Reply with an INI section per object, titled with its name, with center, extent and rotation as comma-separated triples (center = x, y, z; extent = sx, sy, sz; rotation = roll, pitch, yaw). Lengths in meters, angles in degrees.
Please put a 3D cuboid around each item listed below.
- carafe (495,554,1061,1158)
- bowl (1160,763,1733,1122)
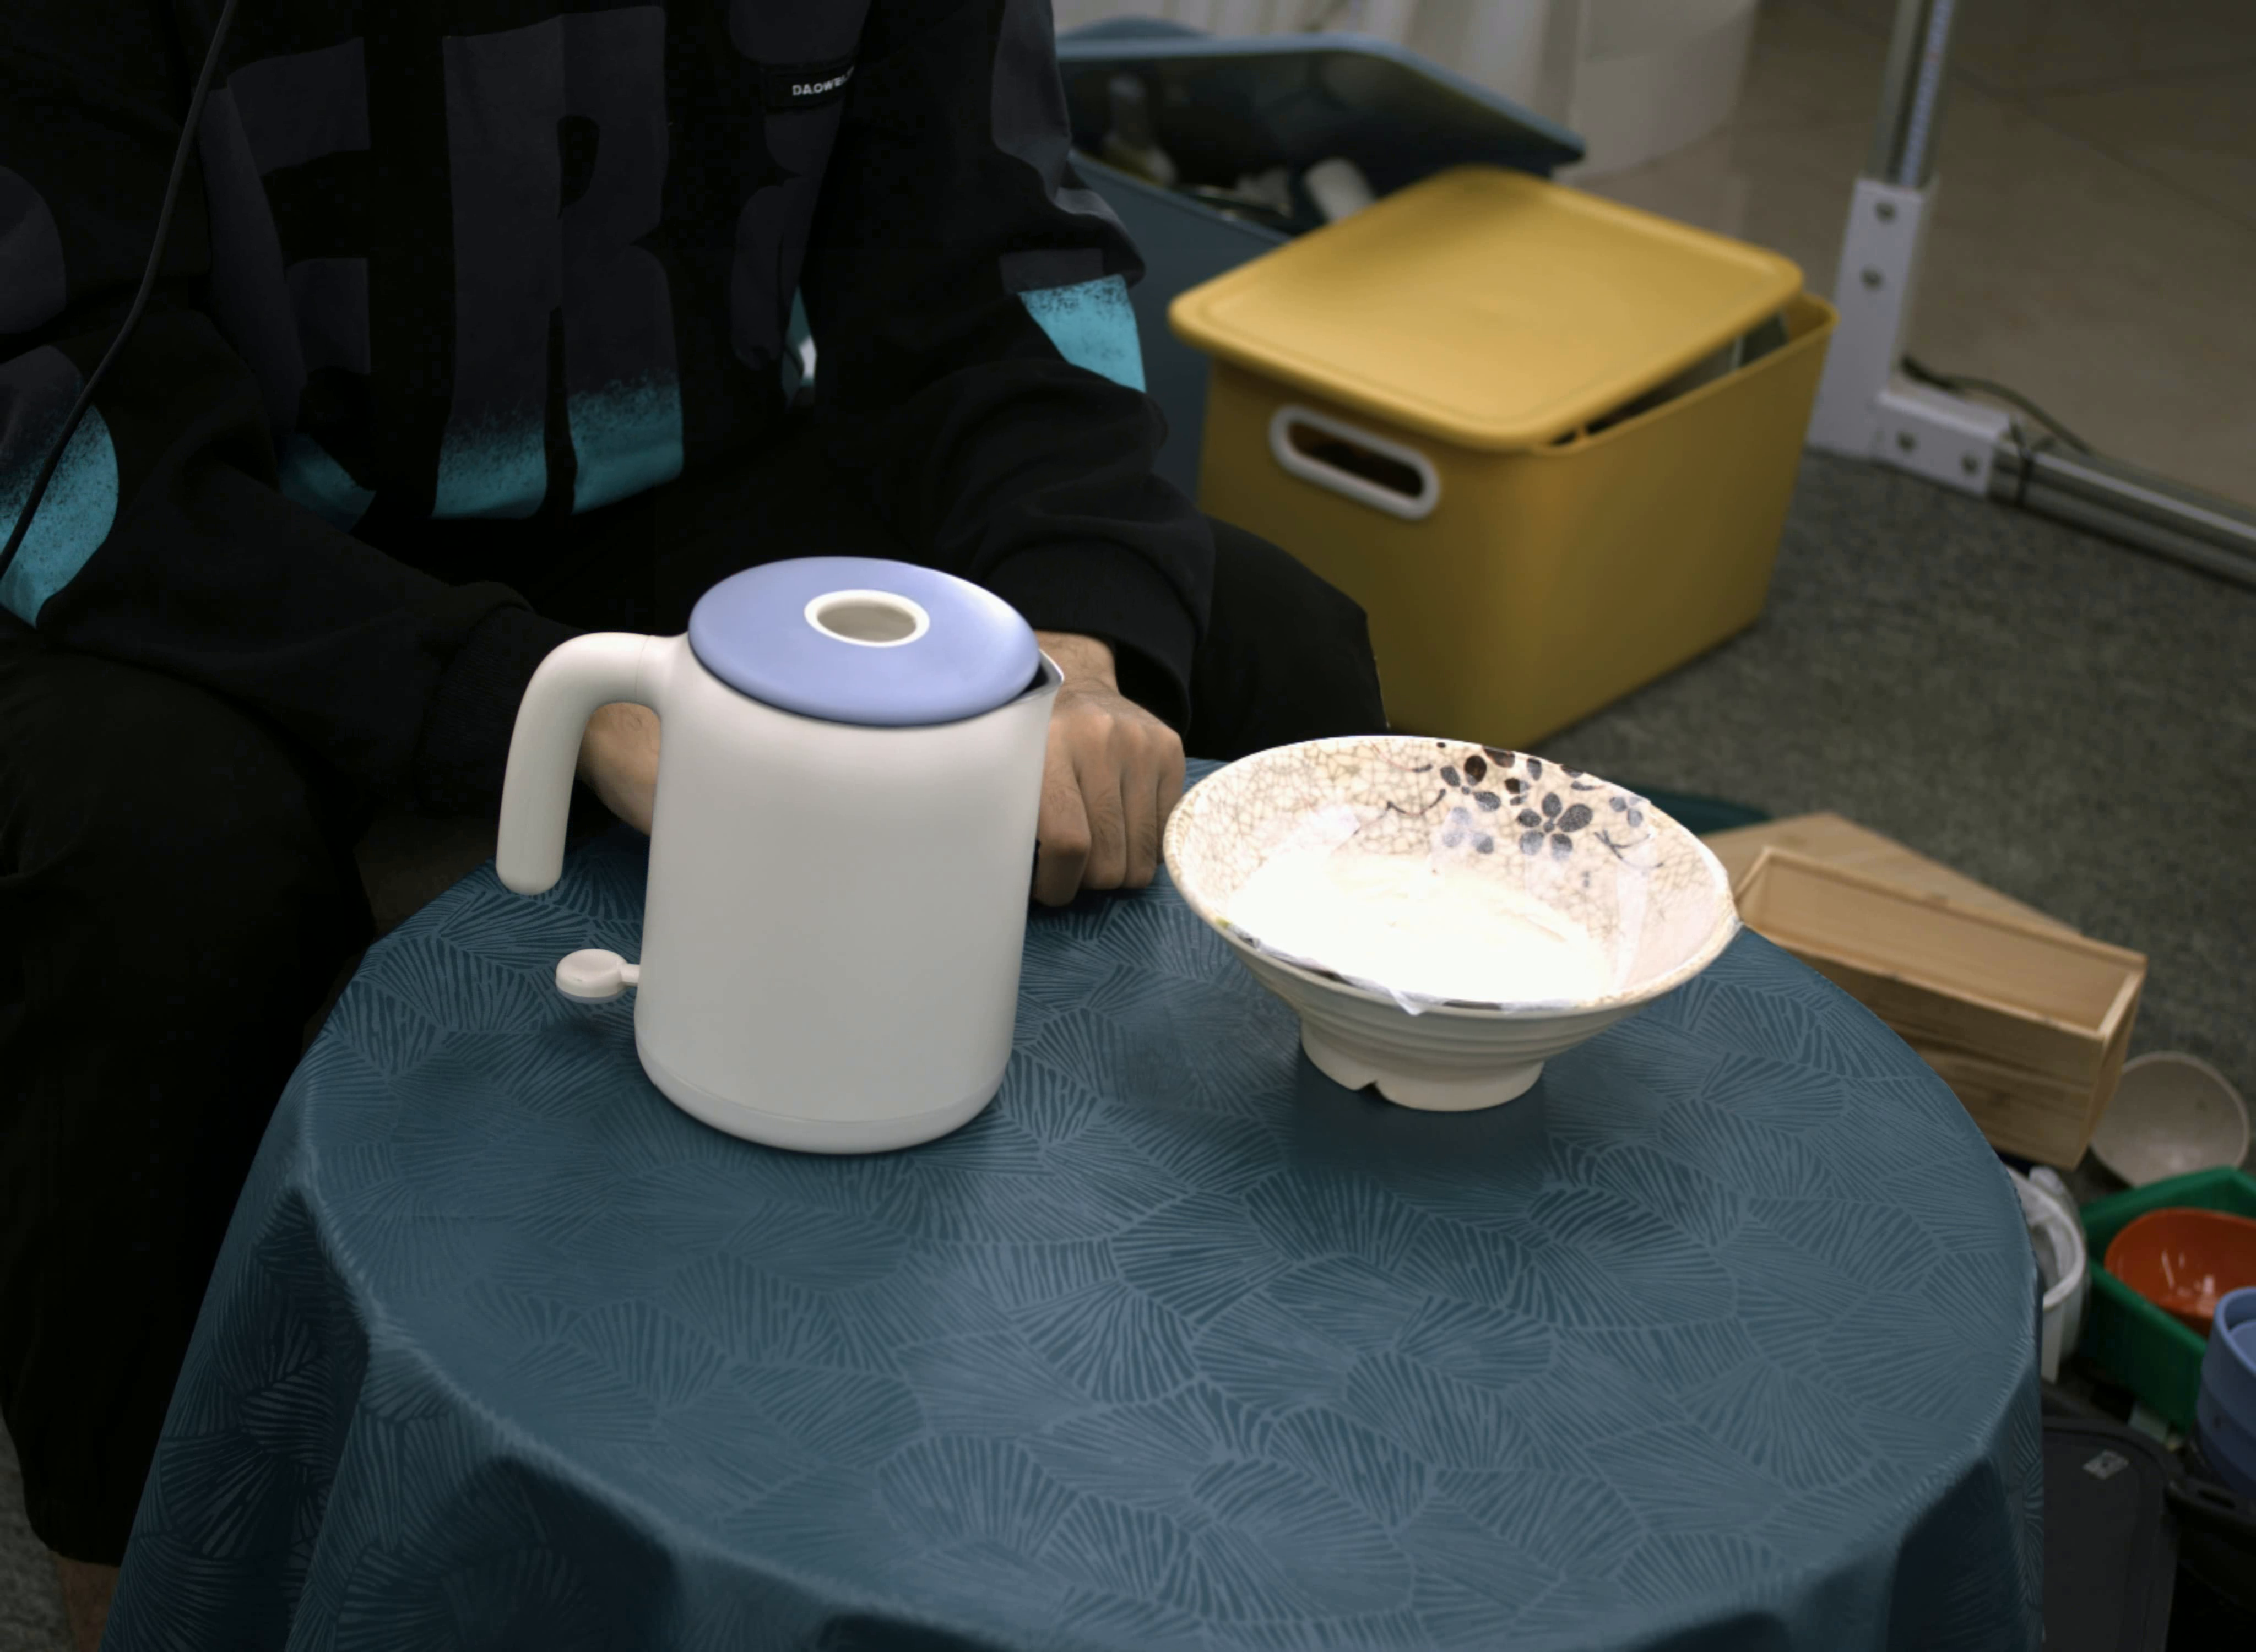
[carafe]
center = -0.121, 0.007, 1.815
extent = 0.191, 0.182, 0.133
rotation = 7, 25, 5
[bowl]
center = 0.109, 0.051, 1.886
extent = 0.203, 0.078, 0.205
rotation = 5, 23, -2
